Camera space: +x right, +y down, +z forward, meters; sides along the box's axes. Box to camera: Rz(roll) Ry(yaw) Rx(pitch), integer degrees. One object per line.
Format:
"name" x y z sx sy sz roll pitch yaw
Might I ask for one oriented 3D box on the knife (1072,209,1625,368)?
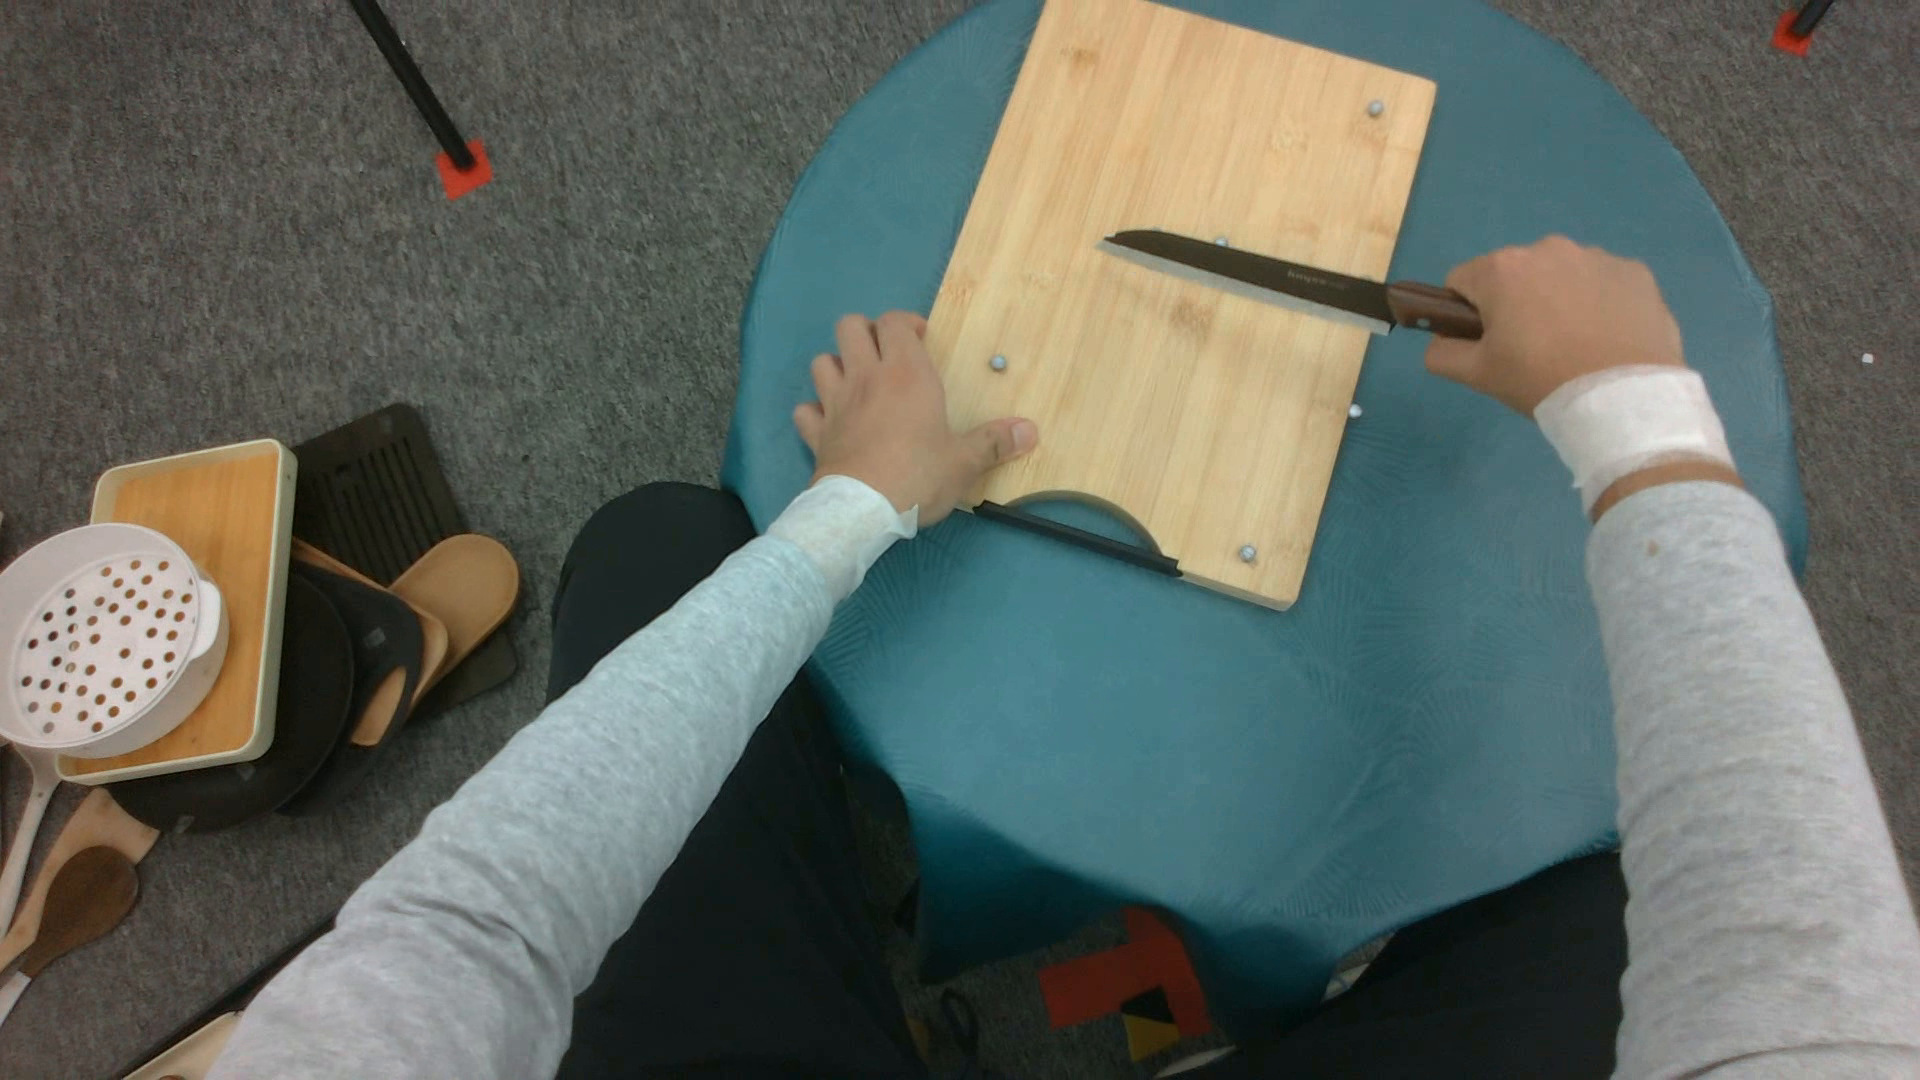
"knife" 0.190 -0.133 0.714 0.289 0.050 0.020 18 69 22

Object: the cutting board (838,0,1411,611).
"cutting board" 0.103 -0.154 0.796 0.250 0.023 0.349 17 73 4
